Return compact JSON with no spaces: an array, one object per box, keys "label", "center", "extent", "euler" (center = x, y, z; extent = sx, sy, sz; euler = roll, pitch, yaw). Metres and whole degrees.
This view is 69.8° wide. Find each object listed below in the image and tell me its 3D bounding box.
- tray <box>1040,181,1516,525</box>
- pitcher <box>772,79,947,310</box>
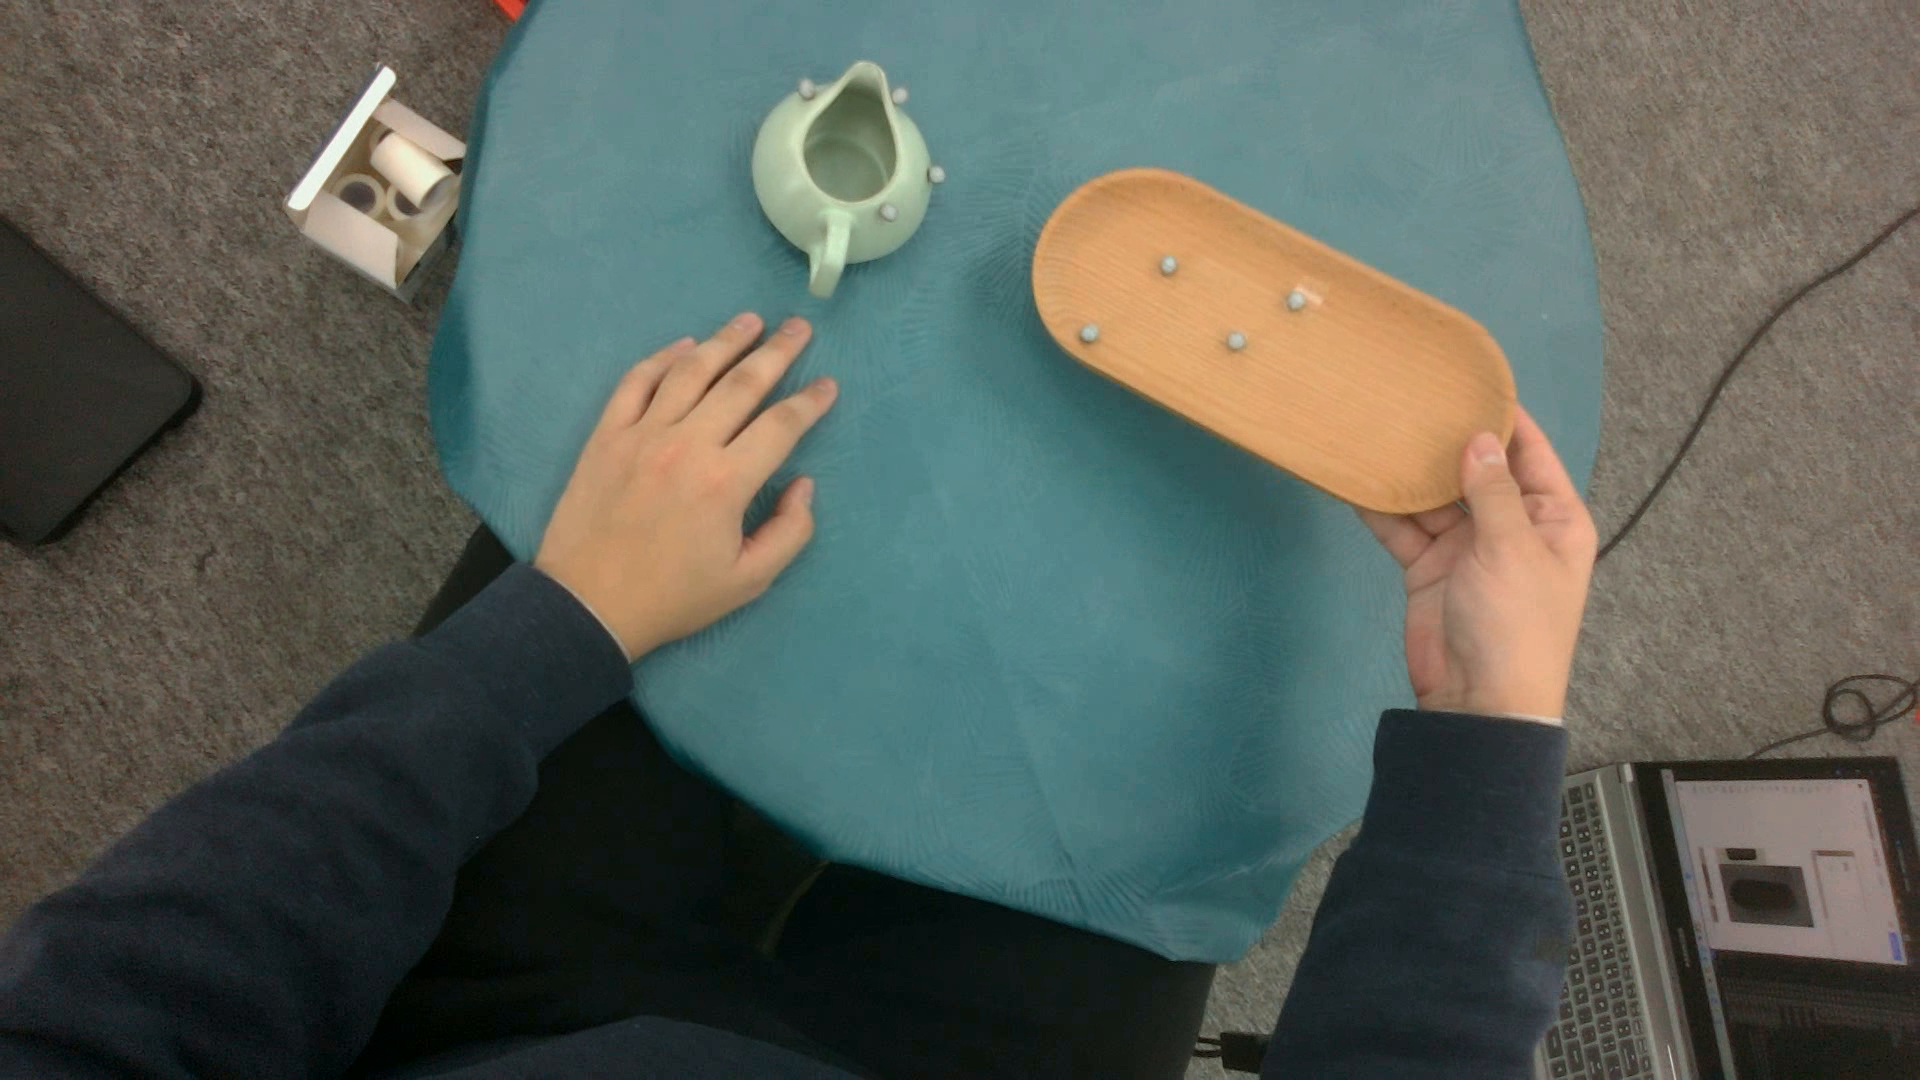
[{"label":"tray","center":[0.145,-0.088,0.642],"extent":[0.231,0.020,0.102],"euler":[29,86,7]},{"label":"pitcher","center":[-0.049,-0.163,0.668],"extent":[0.086,0.060,0.108],"euler":[10,86,-9]}]
